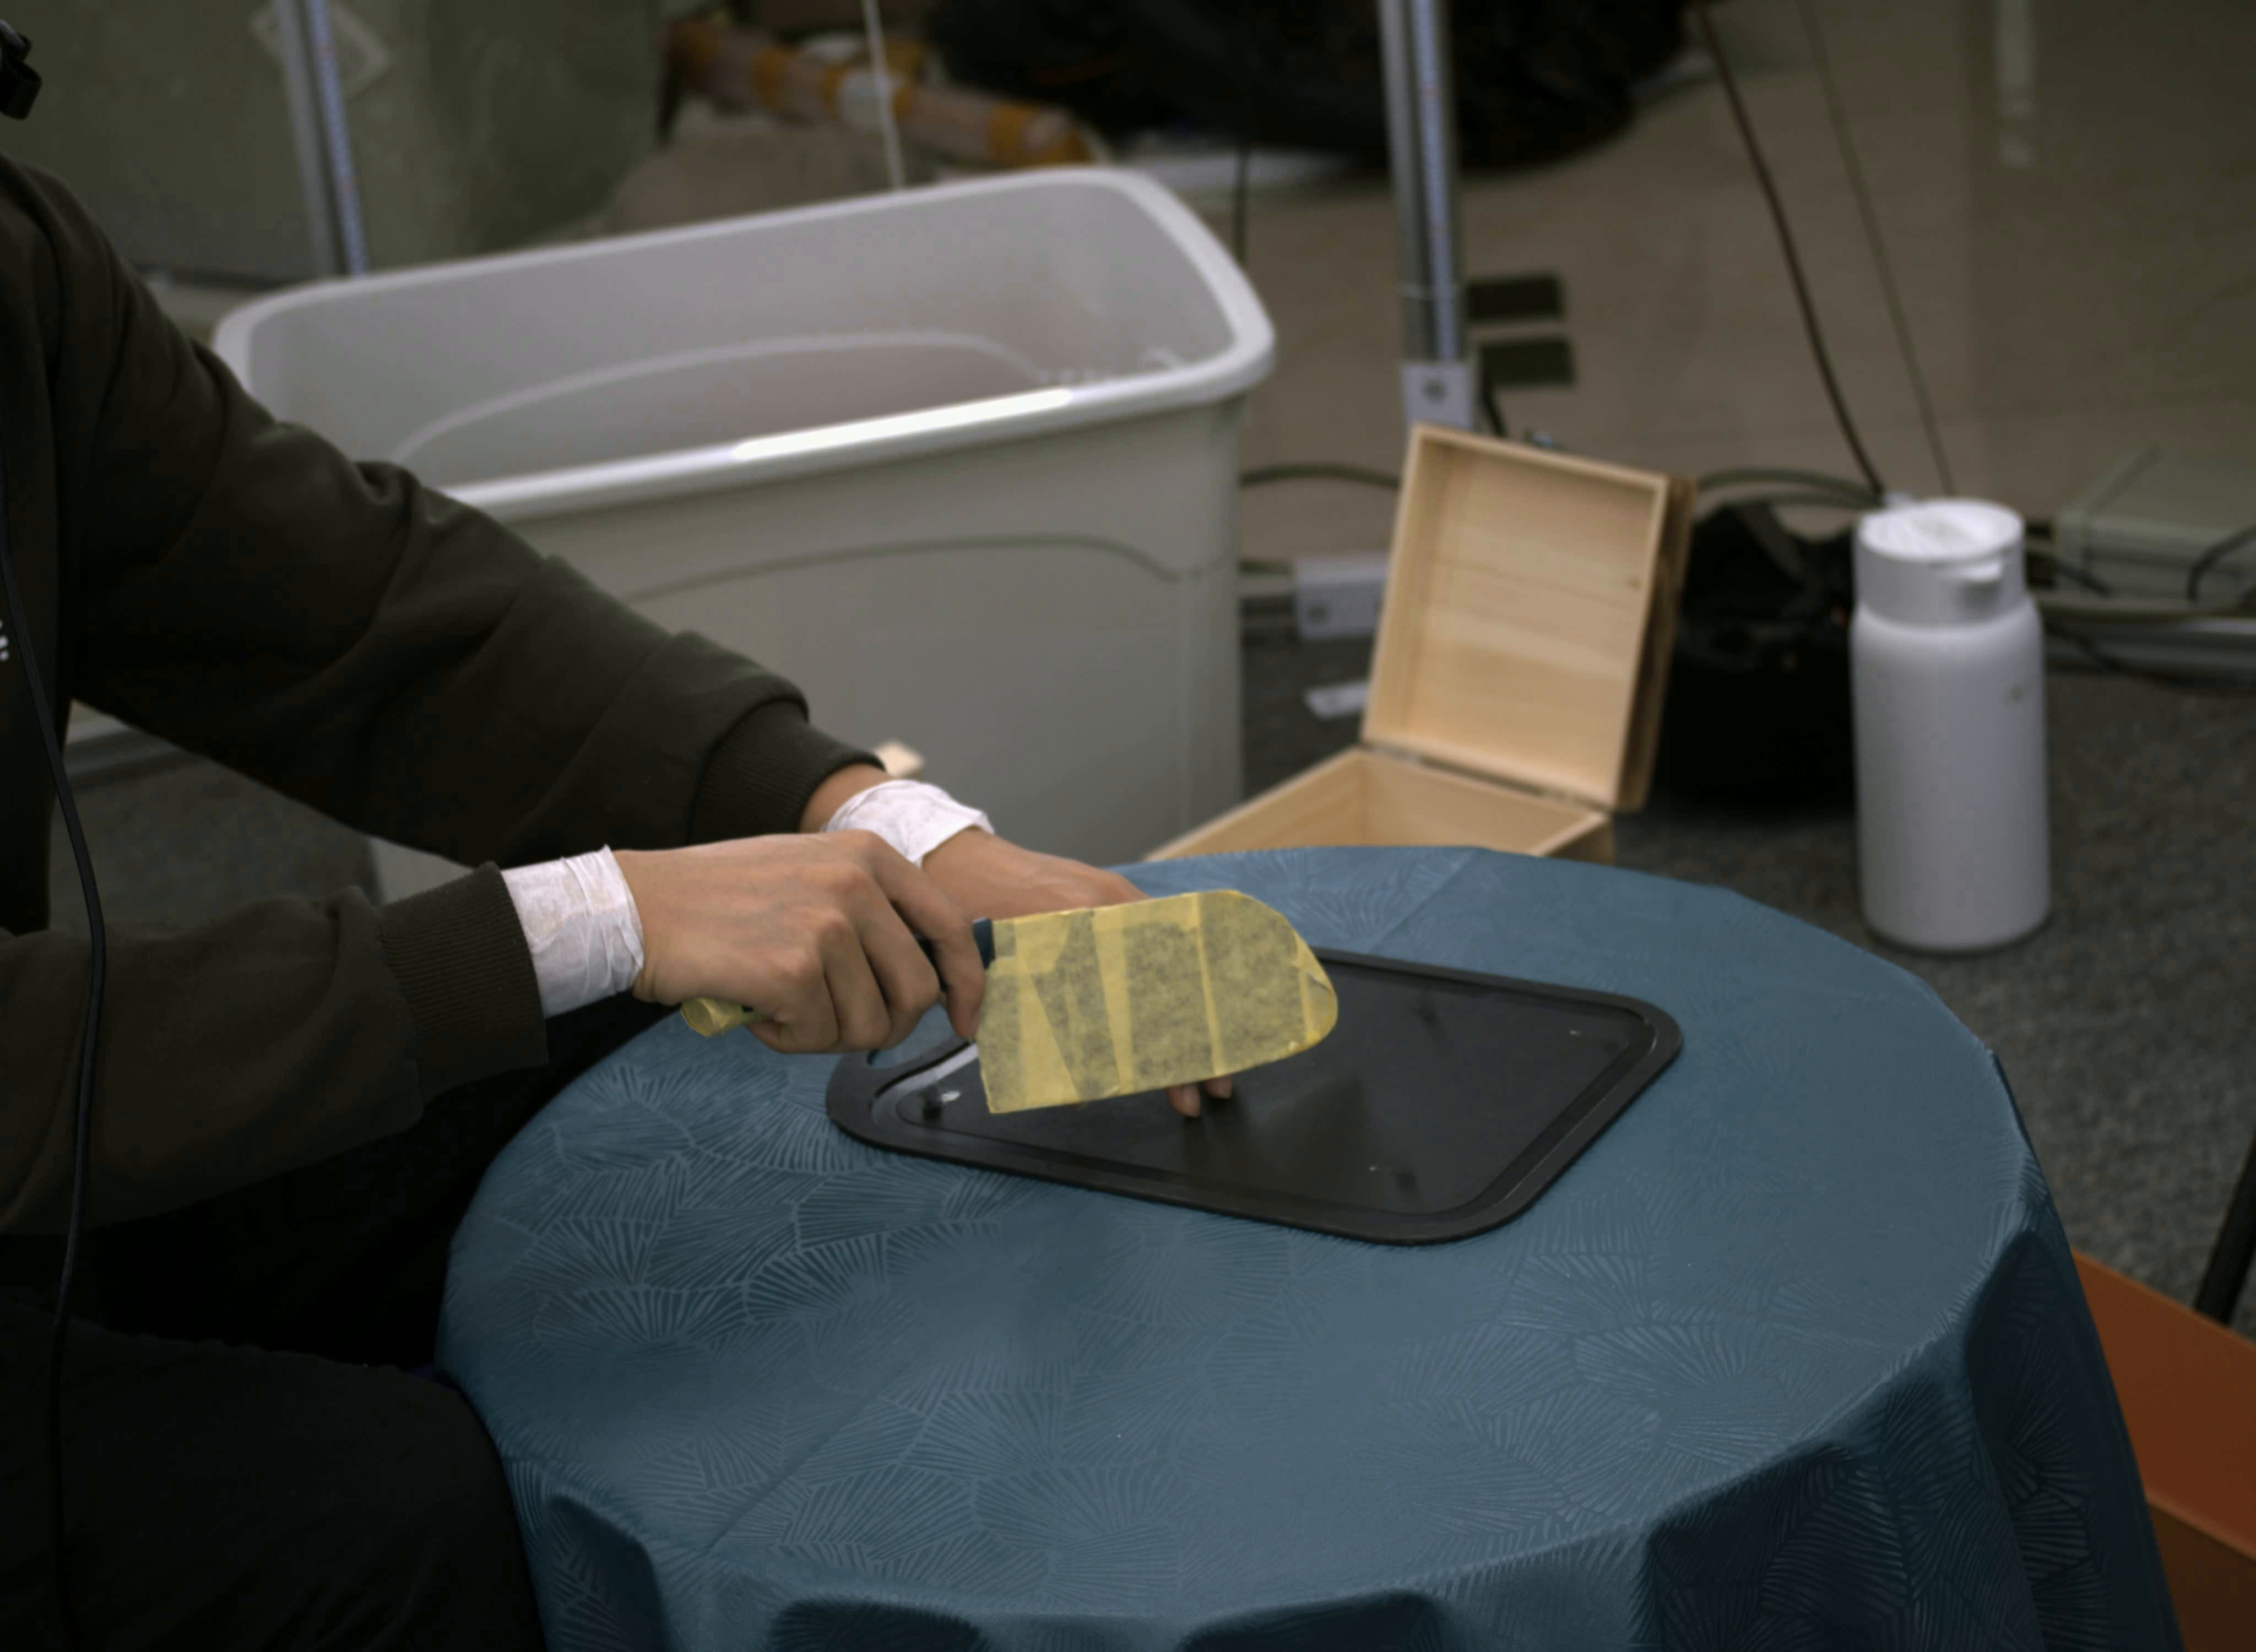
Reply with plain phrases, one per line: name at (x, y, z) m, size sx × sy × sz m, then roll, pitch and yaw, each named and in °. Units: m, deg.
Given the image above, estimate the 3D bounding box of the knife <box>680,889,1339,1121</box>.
knife at (-0.039, 0.070, 2.149) m, size 0.289 × 0.081 × 0.027 m, roll -5°, pitch -4°, yaw -32°

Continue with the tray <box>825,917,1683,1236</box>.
tray at (0.041, 0.094, 2.230) m, size 0.324 × 0.010 × 0.208 m, roll 9°, pitch 29°, yaw 30°
